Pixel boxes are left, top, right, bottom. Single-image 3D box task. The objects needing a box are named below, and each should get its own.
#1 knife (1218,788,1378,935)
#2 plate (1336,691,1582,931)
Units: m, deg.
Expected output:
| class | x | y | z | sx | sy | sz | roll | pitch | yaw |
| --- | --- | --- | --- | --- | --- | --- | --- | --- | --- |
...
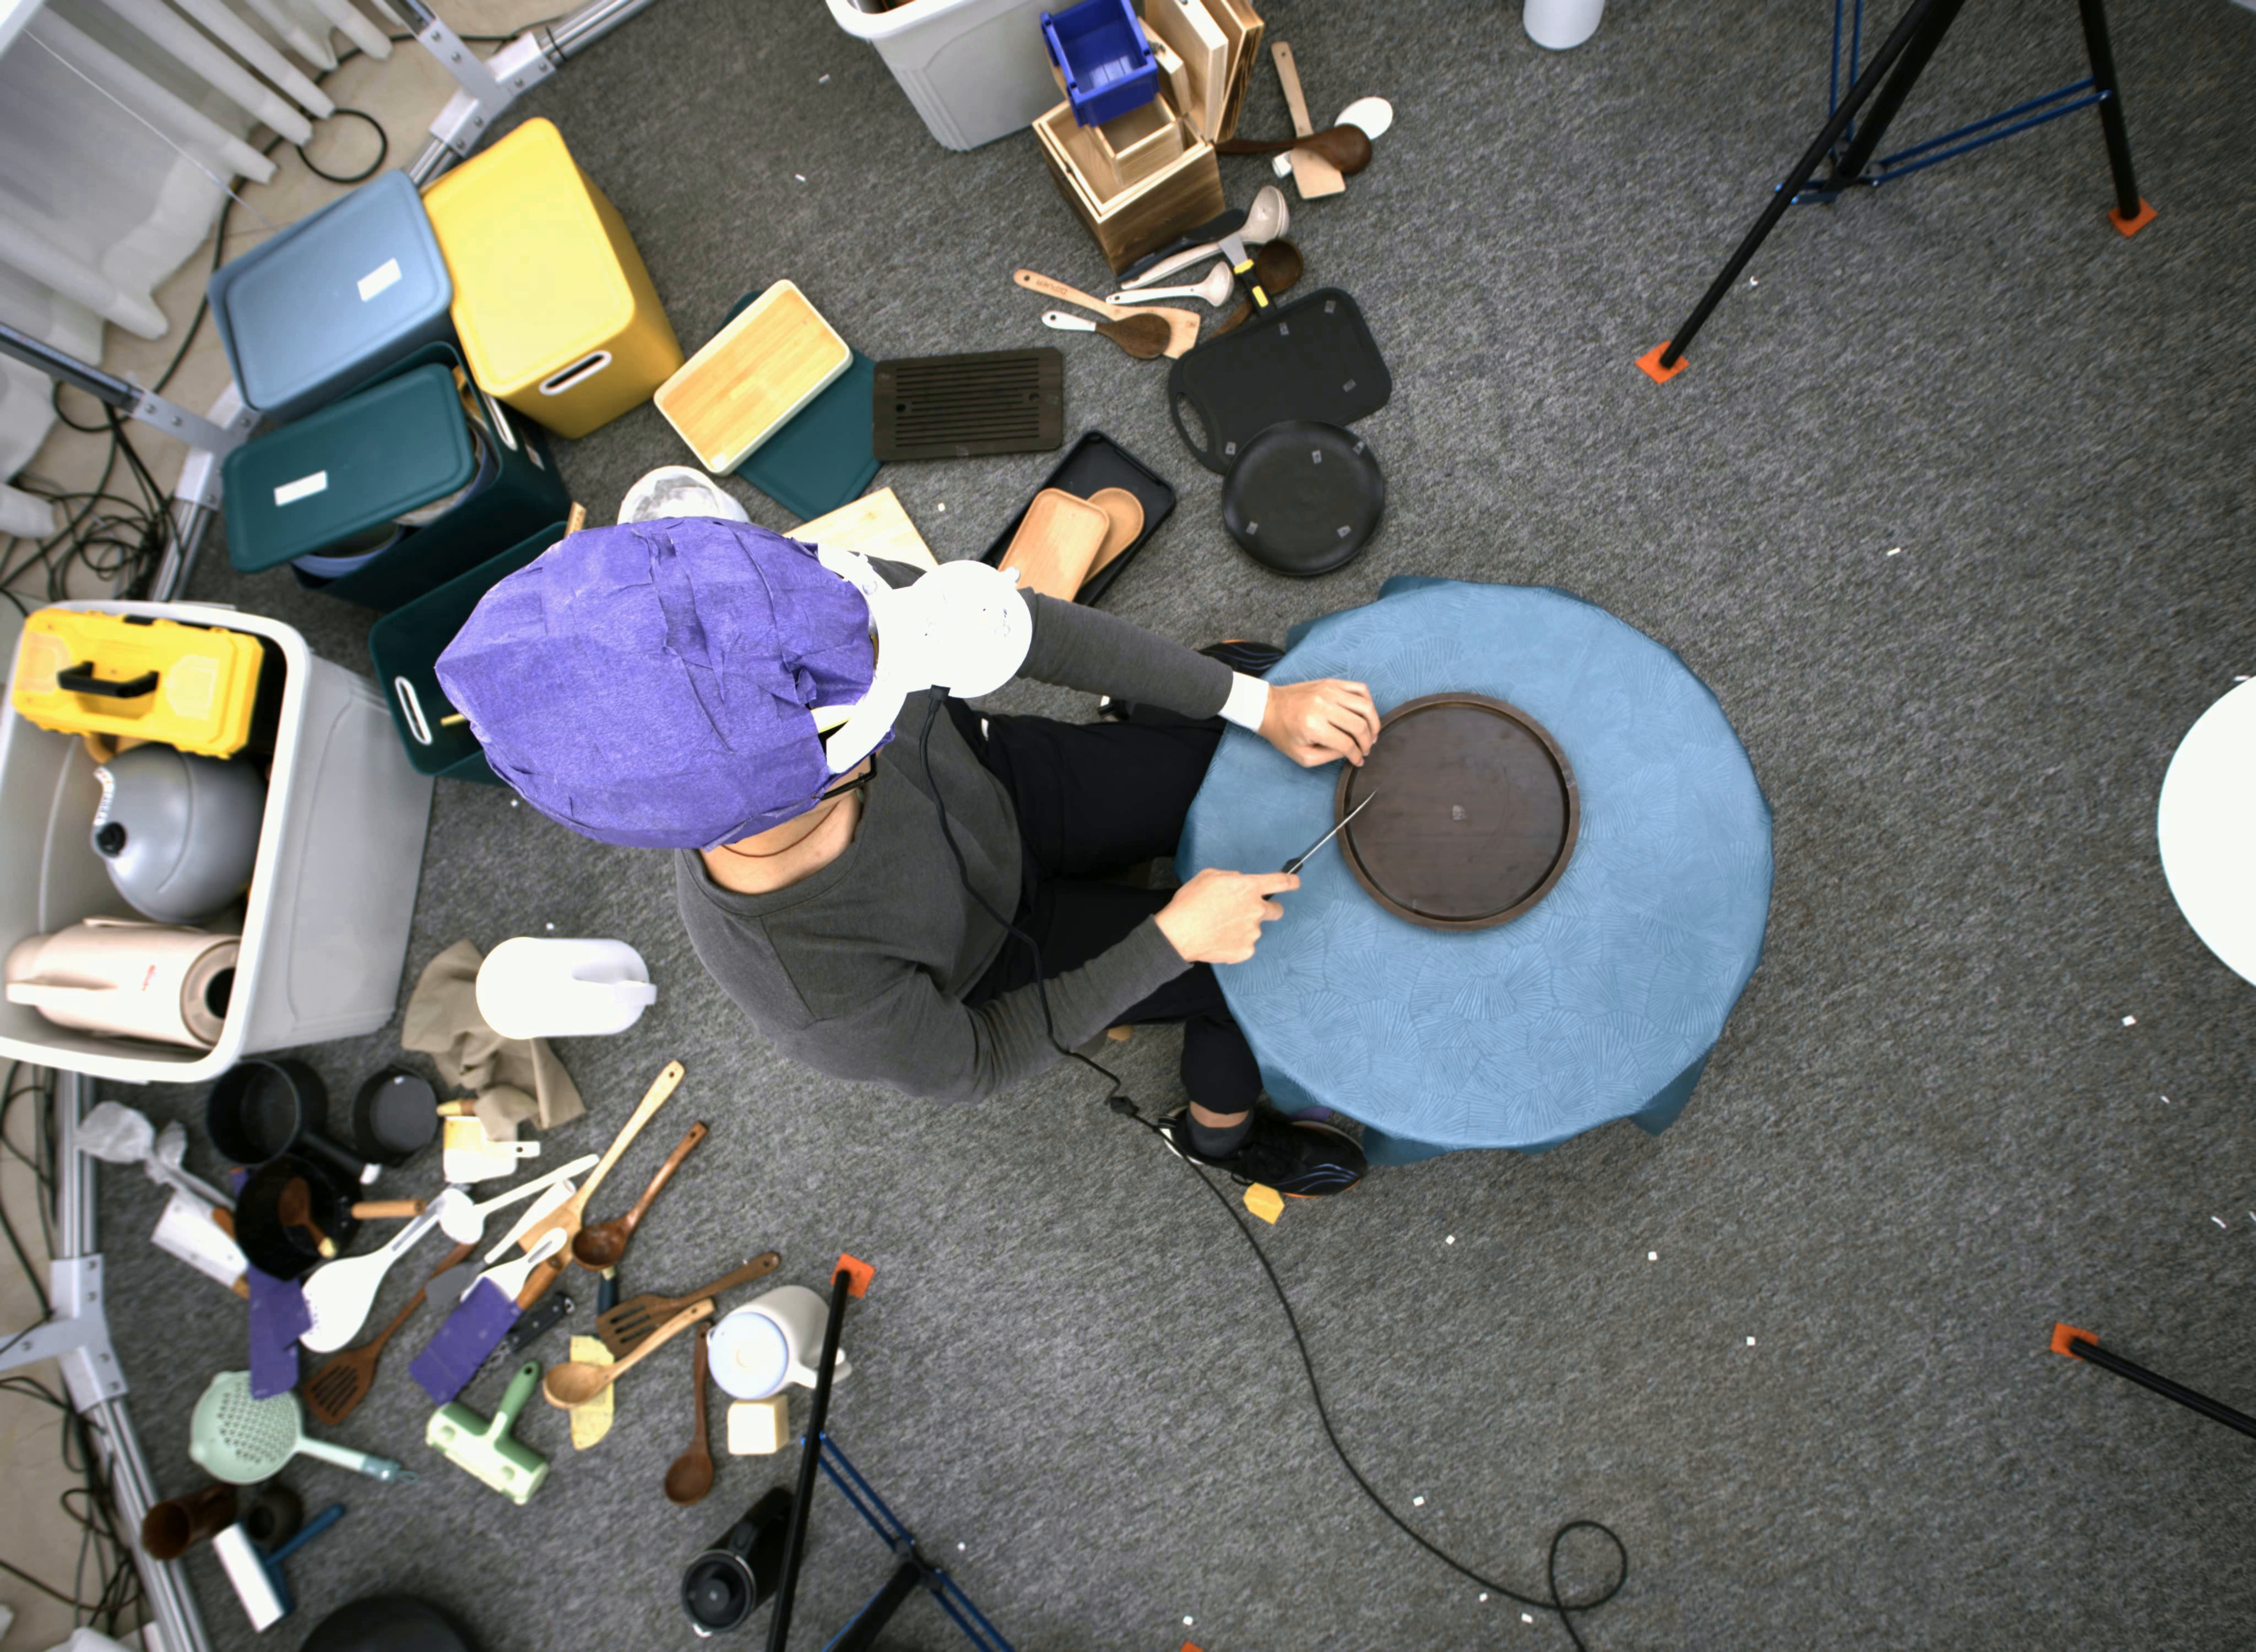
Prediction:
| class | x | y | z | sx | sy | sz | roll | pitch | yaw |
| --- | --- | --- | --- | --- | --- | --- | --- | --- | --- |
| knife | 0.180 | 0.031 | 1.423 | 0.235 | 0.024 | 0.016 | -41 | 96 | -17 |
| plate | 0.344 | -0.018 | 1.440 | 0.256 | 0.029 | 0.253 | -1 | 86 | 10 |
